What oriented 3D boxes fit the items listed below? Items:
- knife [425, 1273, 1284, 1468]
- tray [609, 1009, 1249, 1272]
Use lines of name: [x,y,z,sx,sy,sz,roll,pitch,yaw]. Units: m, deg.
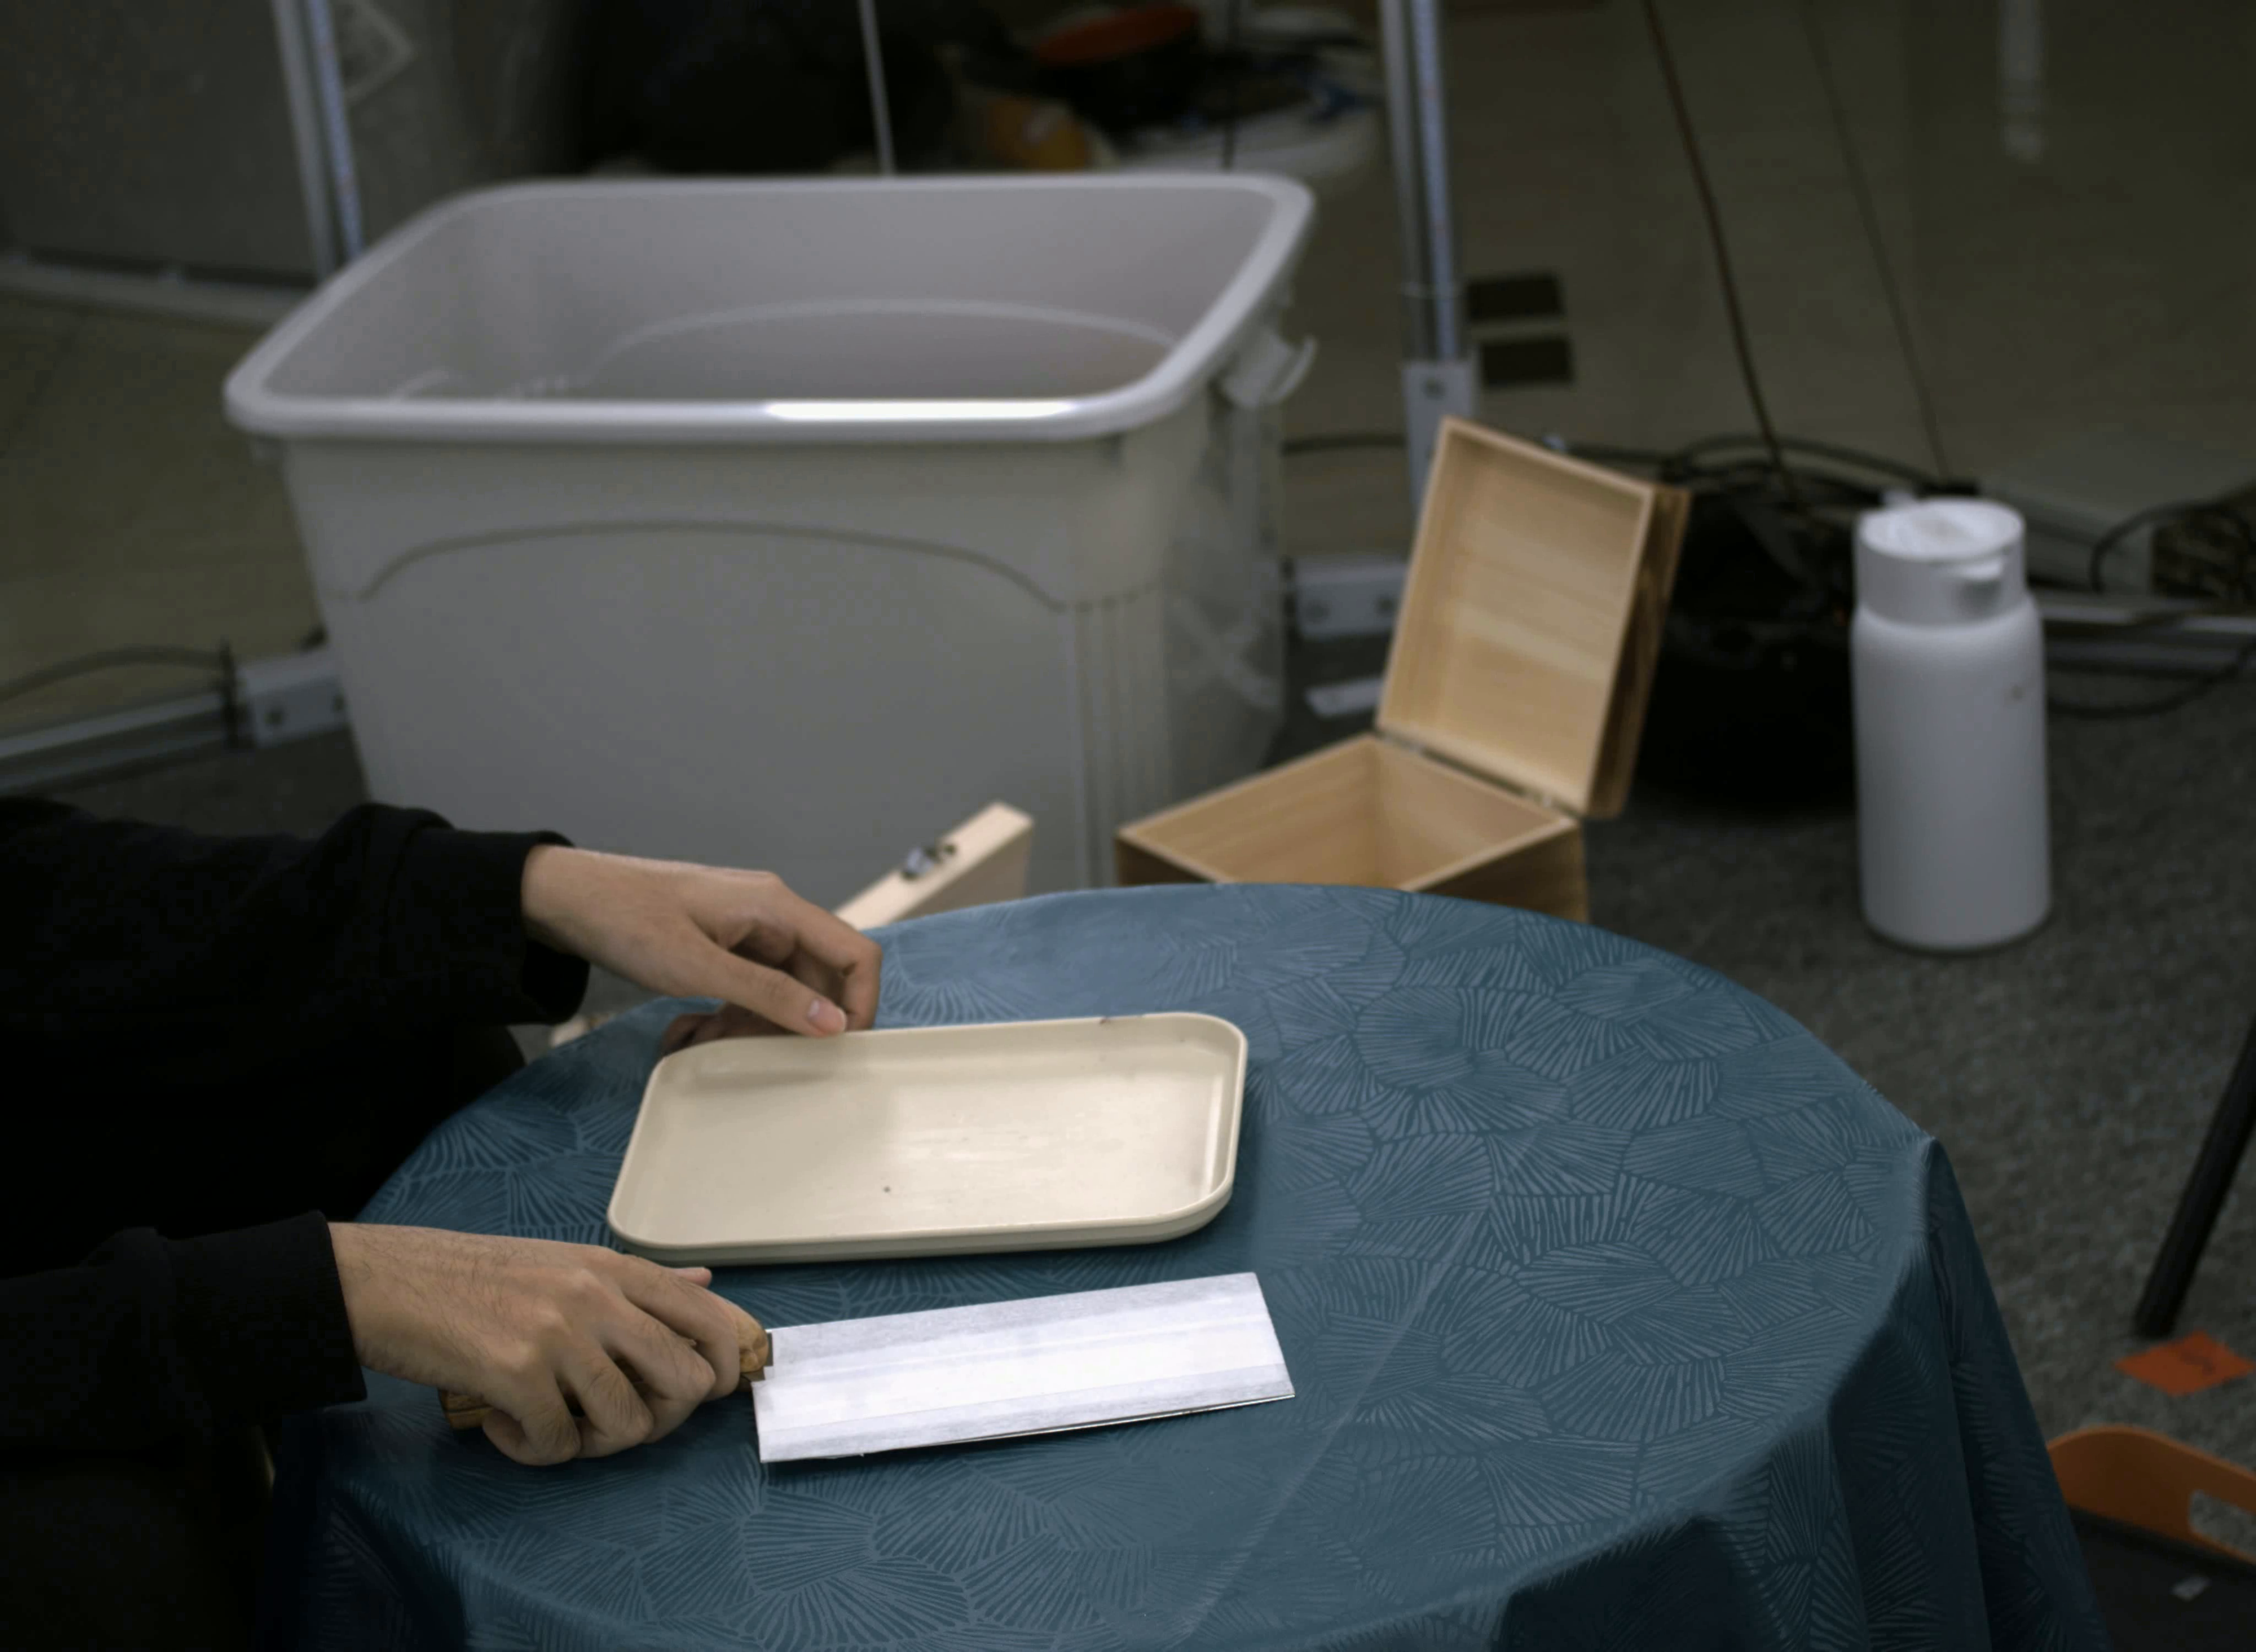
knife: [-0.098,0.199,2.025,0.305,0.021,0.091,-6,27,-6]
tray: [-0.074,0.122,2.179,0.239,0.018,0.168,-3,26,6]
